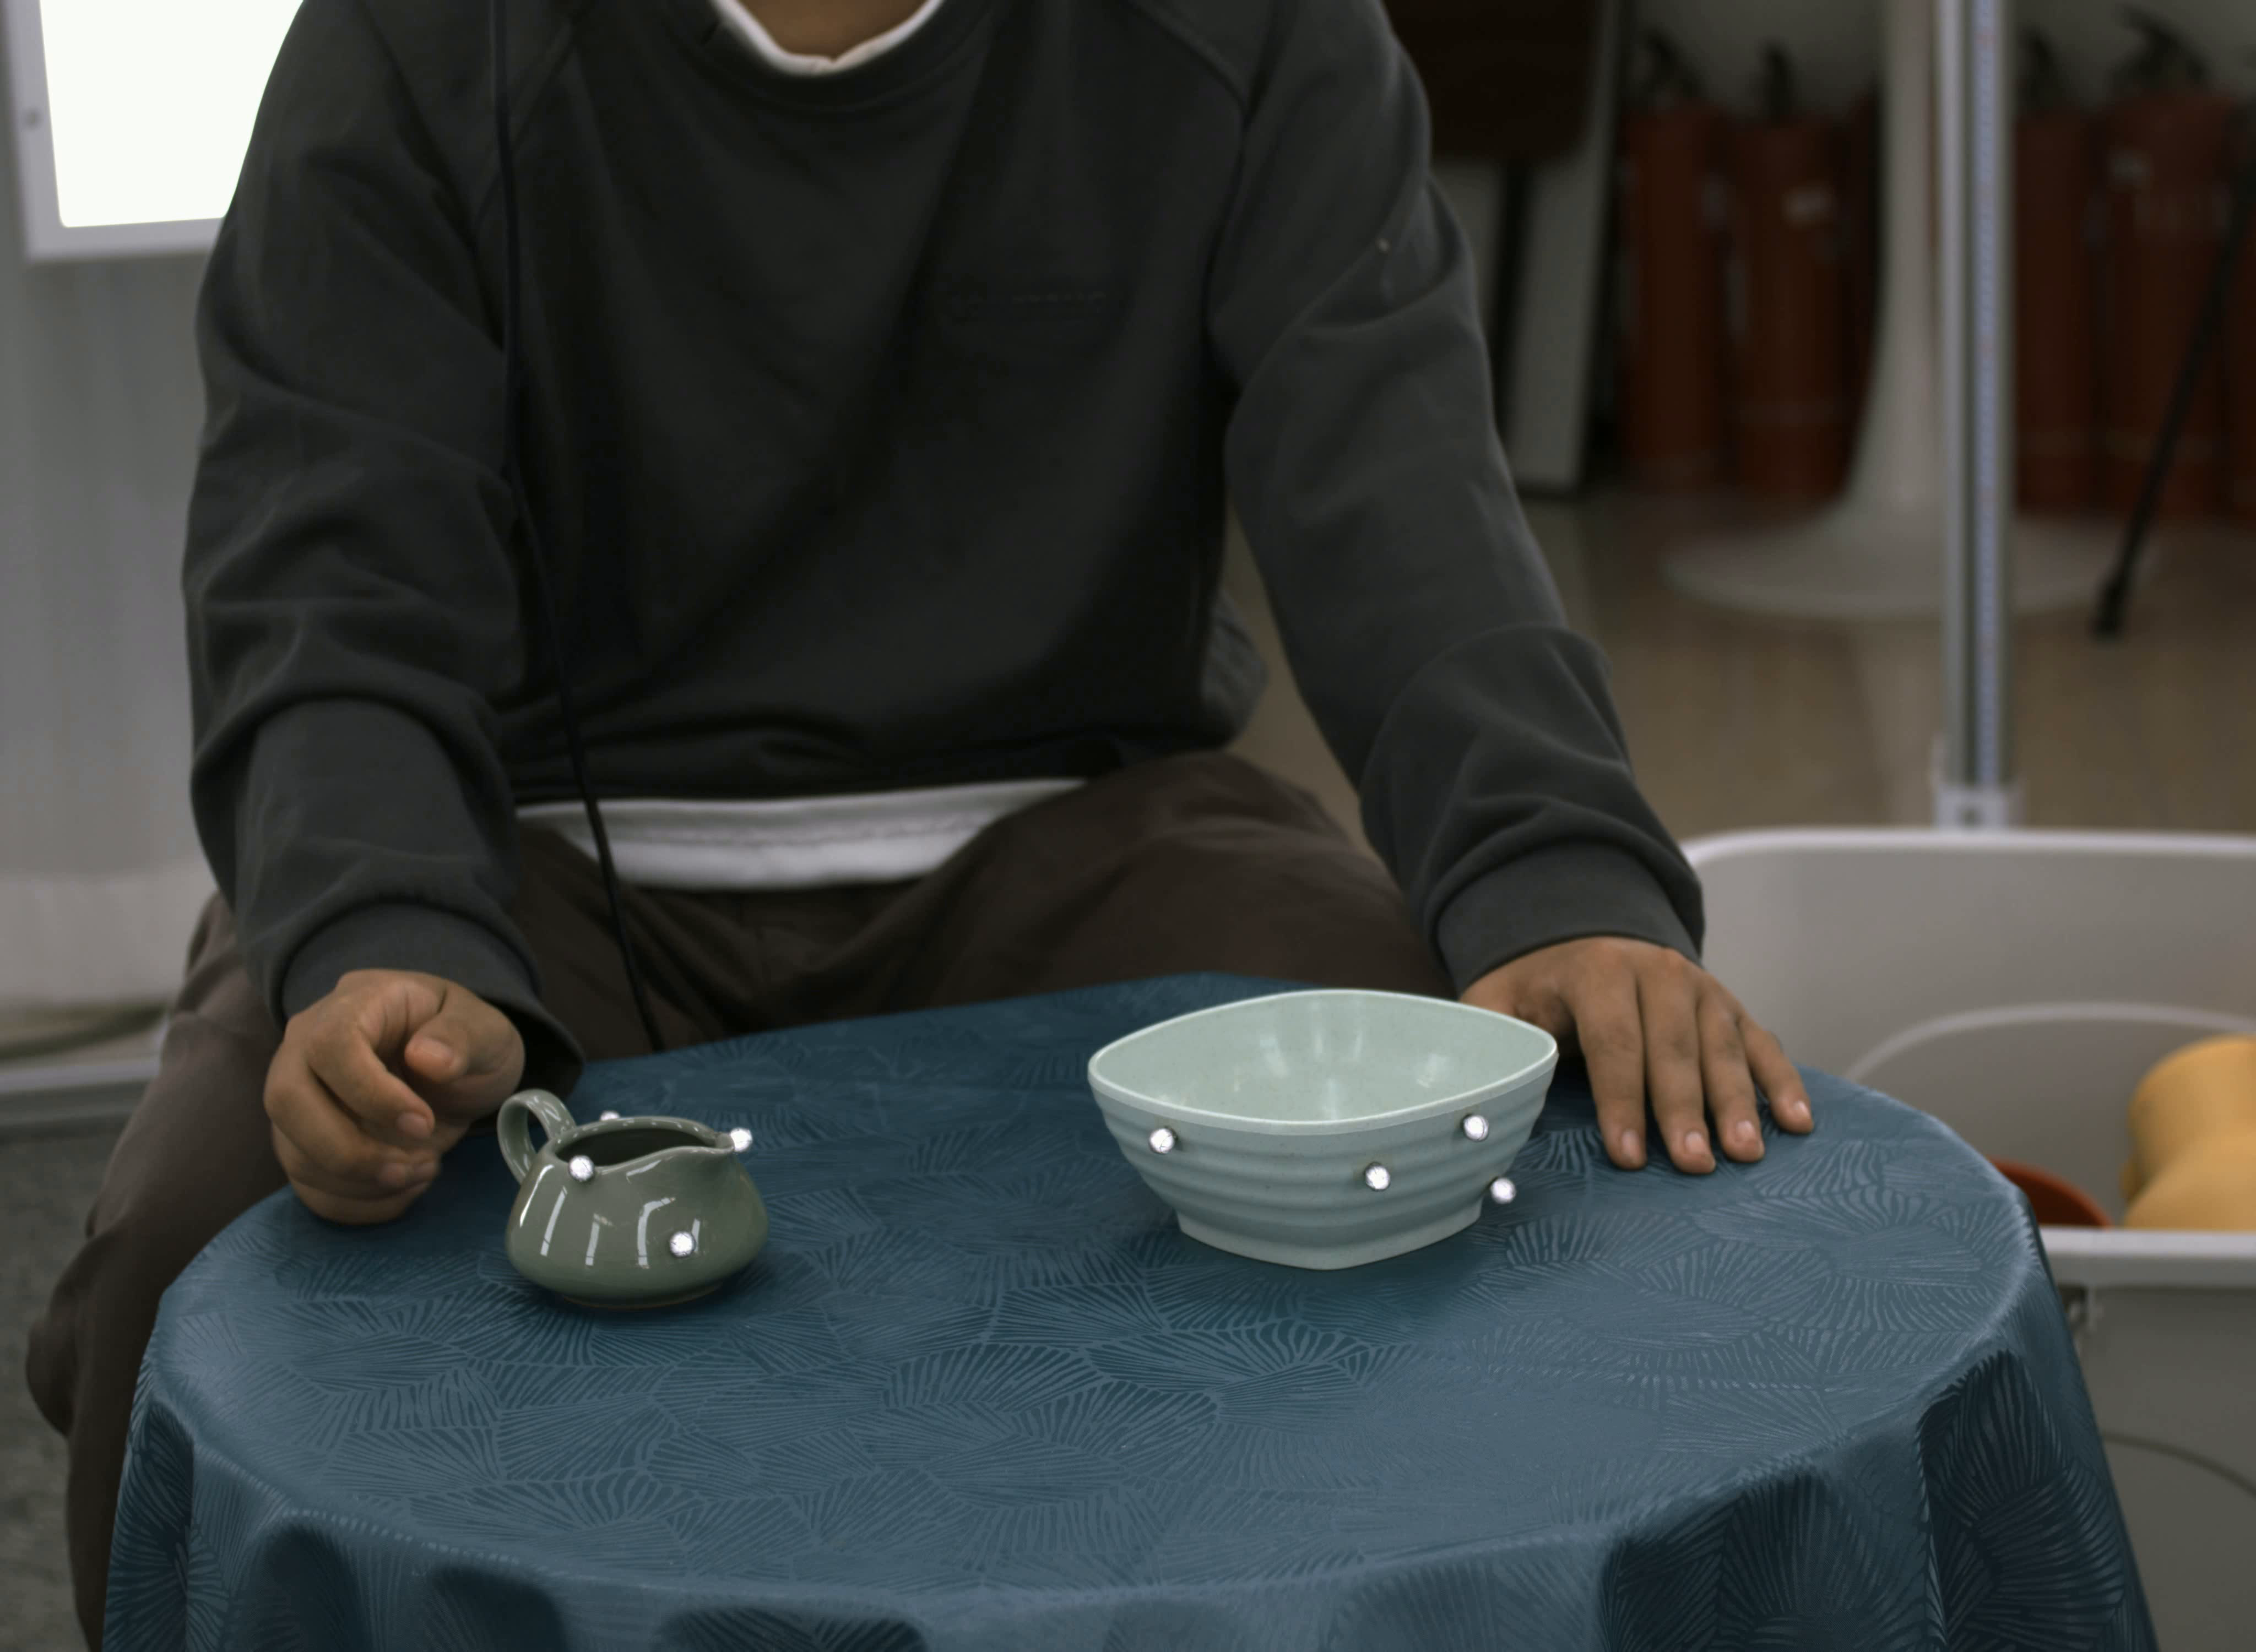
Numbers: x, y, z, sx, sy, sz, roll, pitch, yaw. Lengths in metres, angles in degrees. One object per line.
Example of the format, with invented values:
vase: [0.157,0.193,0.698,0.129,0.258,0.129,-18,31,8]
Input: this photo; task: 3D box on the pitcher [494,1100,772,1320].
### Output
pitcher: [-0.159,0.120,1.710,0.113,0.057,0.082,8,18,44]

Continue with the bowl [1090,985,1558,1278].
bowl: [0.064,0.101,1.724,0.149,0.059,0.152,-3,15,0]
